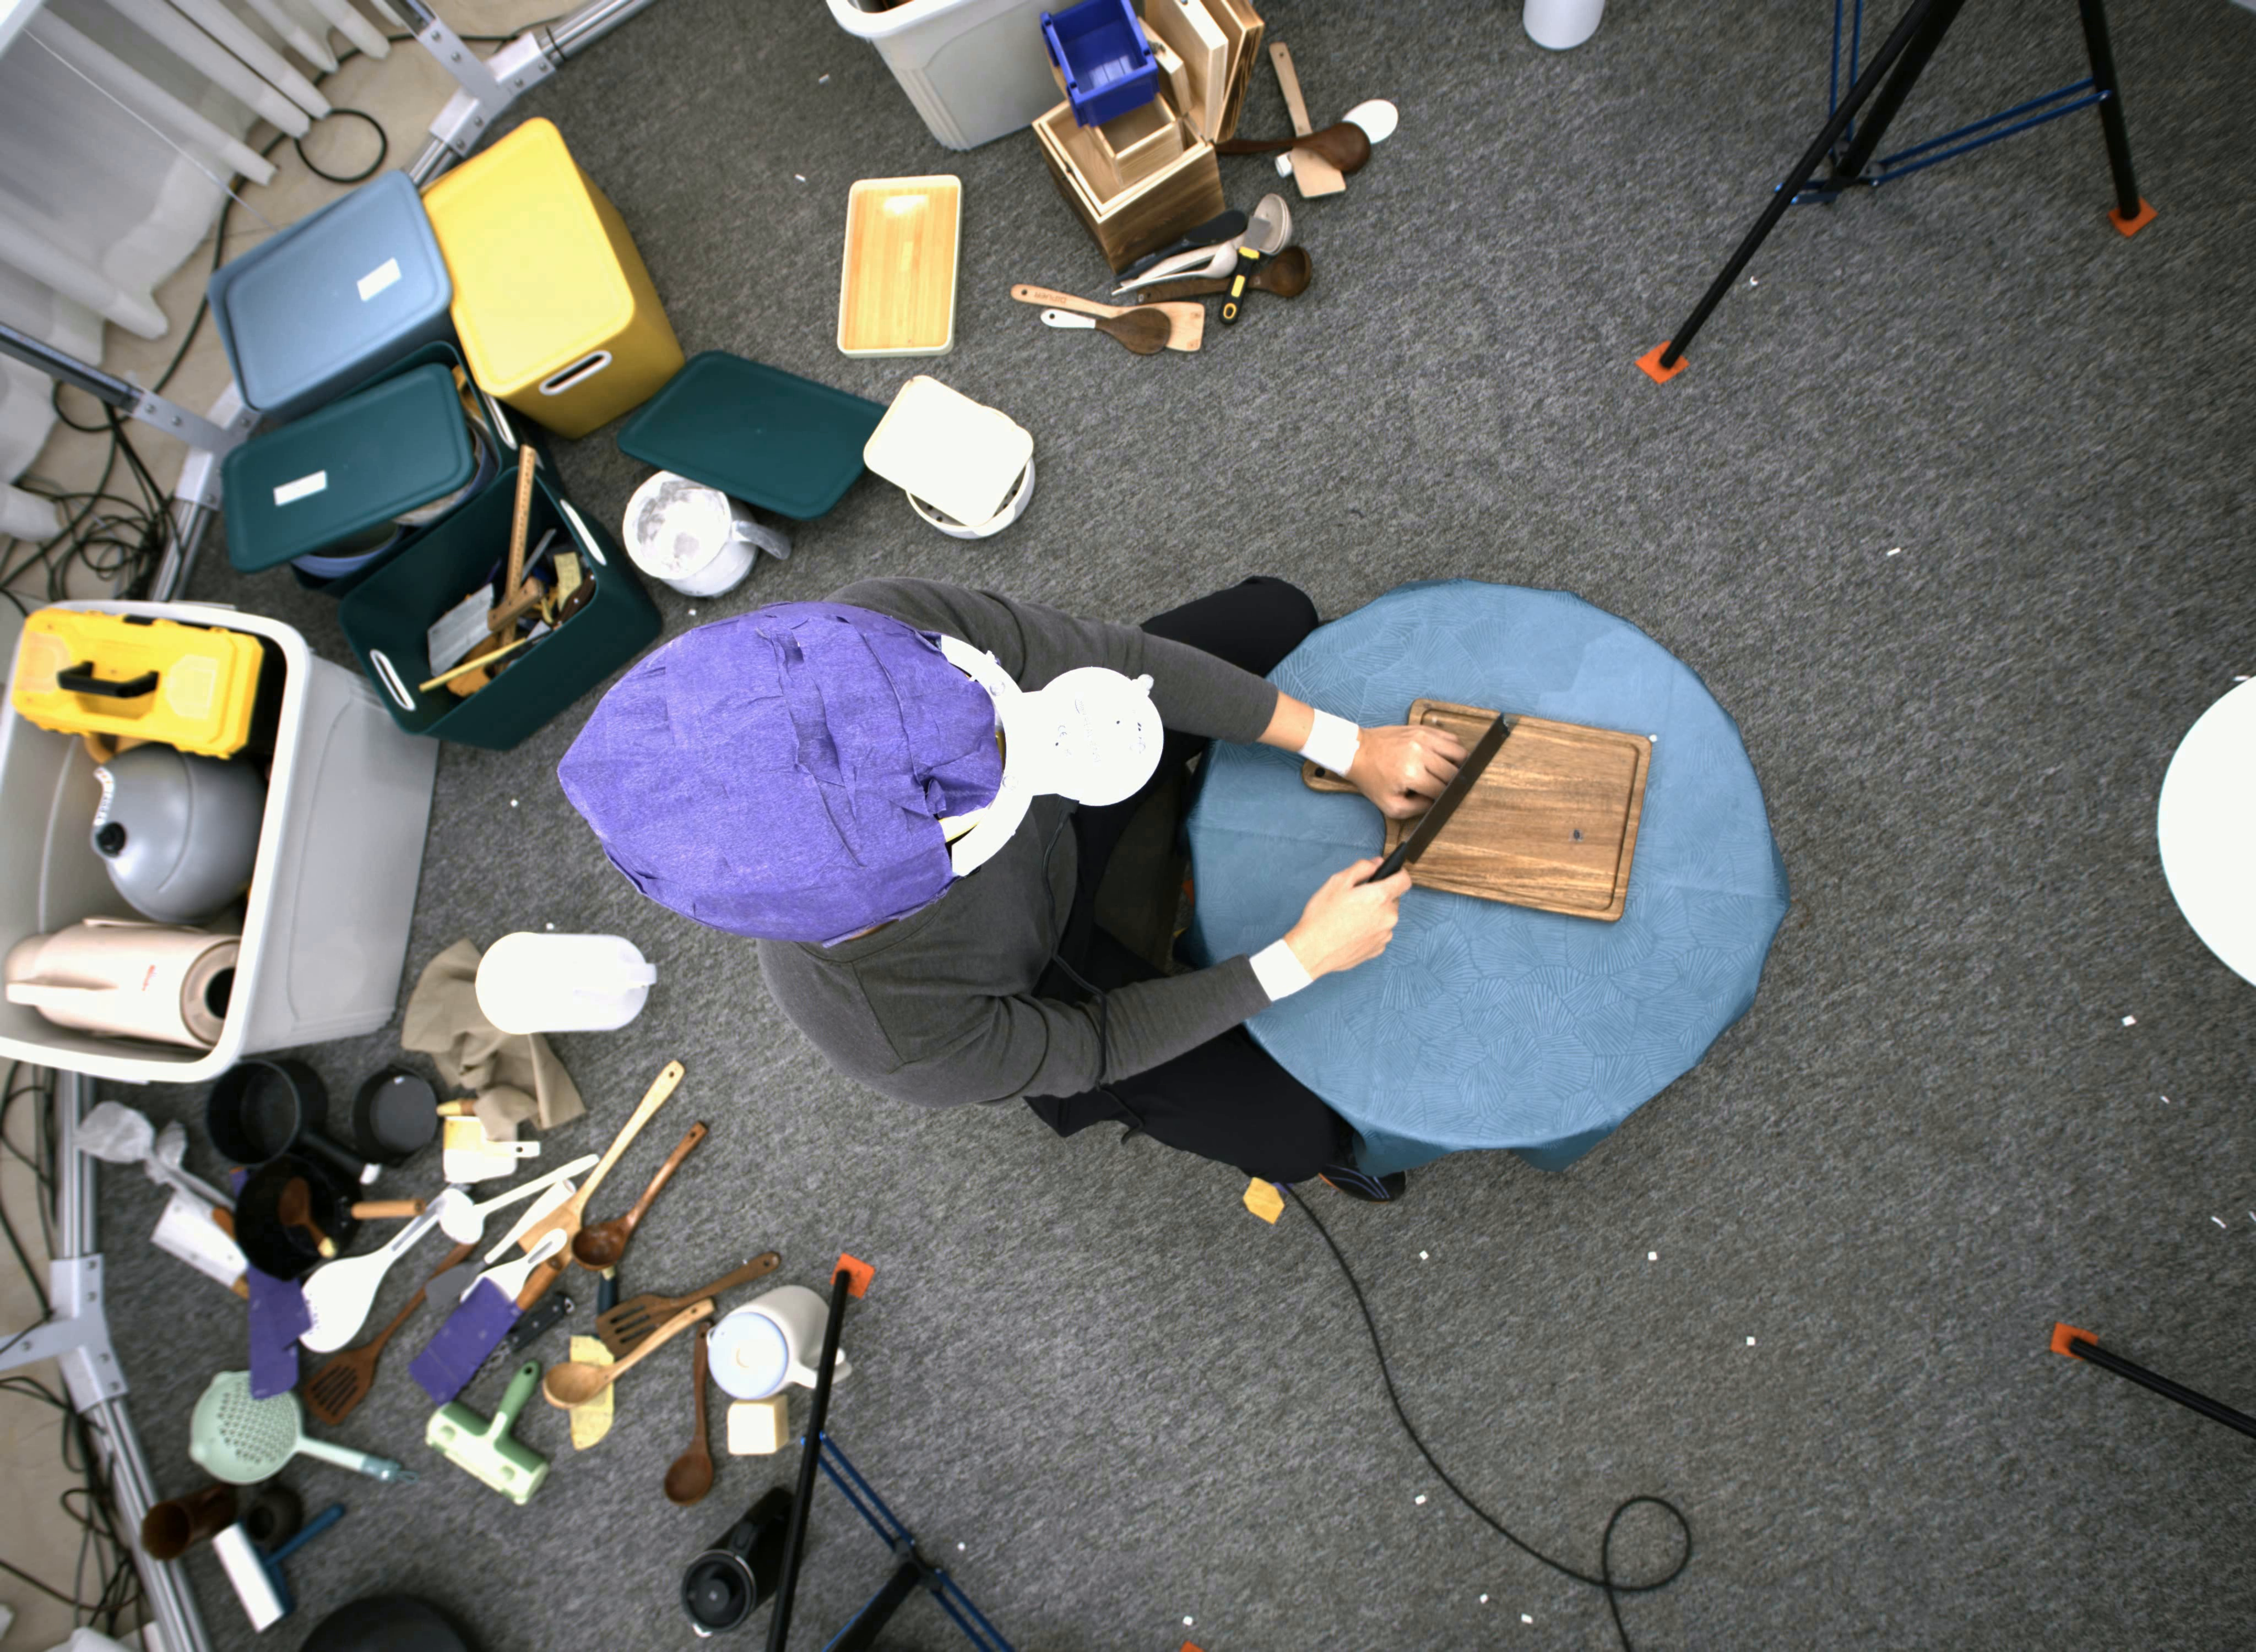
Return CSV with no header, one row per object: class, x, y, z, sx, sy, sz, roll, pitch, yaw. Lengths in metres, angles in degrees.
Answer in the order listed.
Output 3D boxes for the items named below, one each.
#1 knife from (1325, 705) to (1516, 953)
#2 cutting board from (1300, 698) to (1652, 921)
knife,0.297,0.004,1.388,0.020,0.081,0.302,39,91,28
cutting board,0.355,-0.030,1.439,0.353,0.023,0.200,10,88,11
